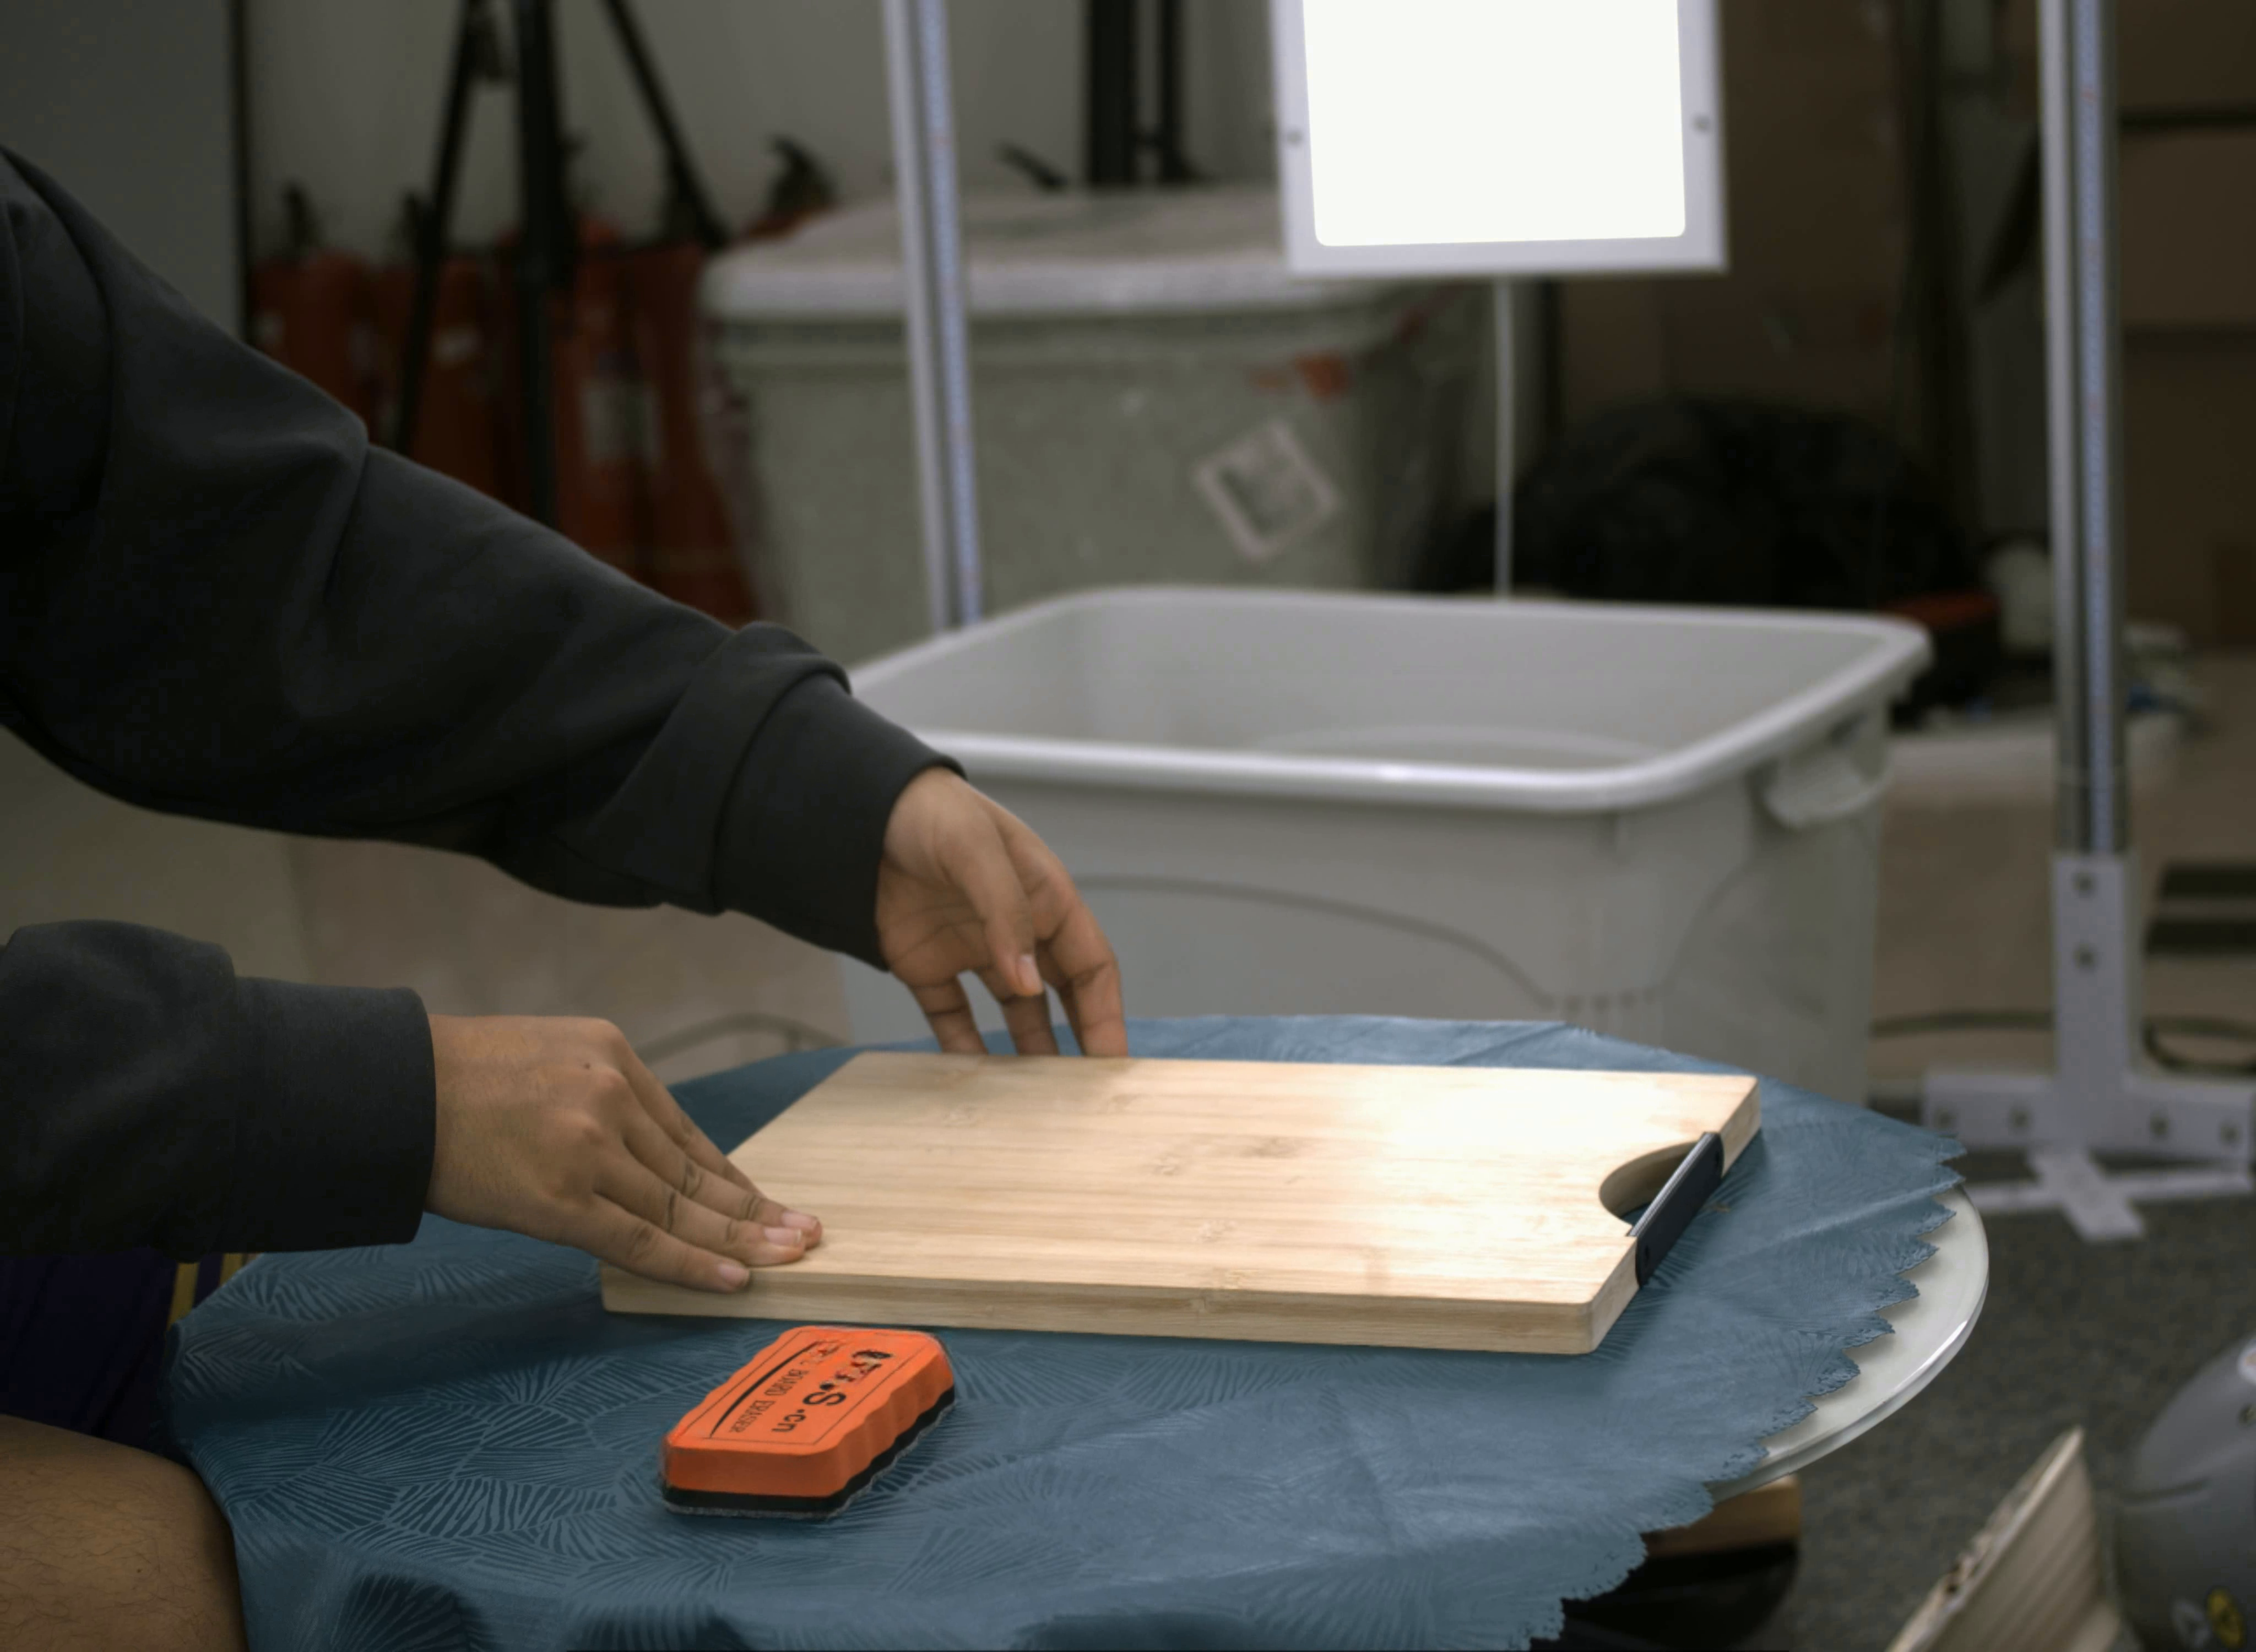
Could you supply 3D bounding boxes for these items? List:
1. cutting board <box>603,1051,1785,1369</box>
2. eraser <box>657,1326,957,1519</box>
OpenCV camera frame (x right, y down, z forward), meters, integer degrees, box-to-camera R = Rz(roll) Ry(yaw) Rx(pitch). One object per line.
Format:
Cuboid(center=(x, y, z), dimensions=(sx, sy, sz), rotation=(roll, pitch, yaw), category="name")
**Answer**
Cuboid(center=(0.028, 0.124, 1.860), dimensions=(0.353, 0.023, 0.246), rotation=(0, 15, 21), category="cutting board")
Cuboid(center=(-0.096, 0.179, 1.666), dimensions=(0.060, 0.023, 0.106), rotation=(1, 14, 22), category="eraser")
